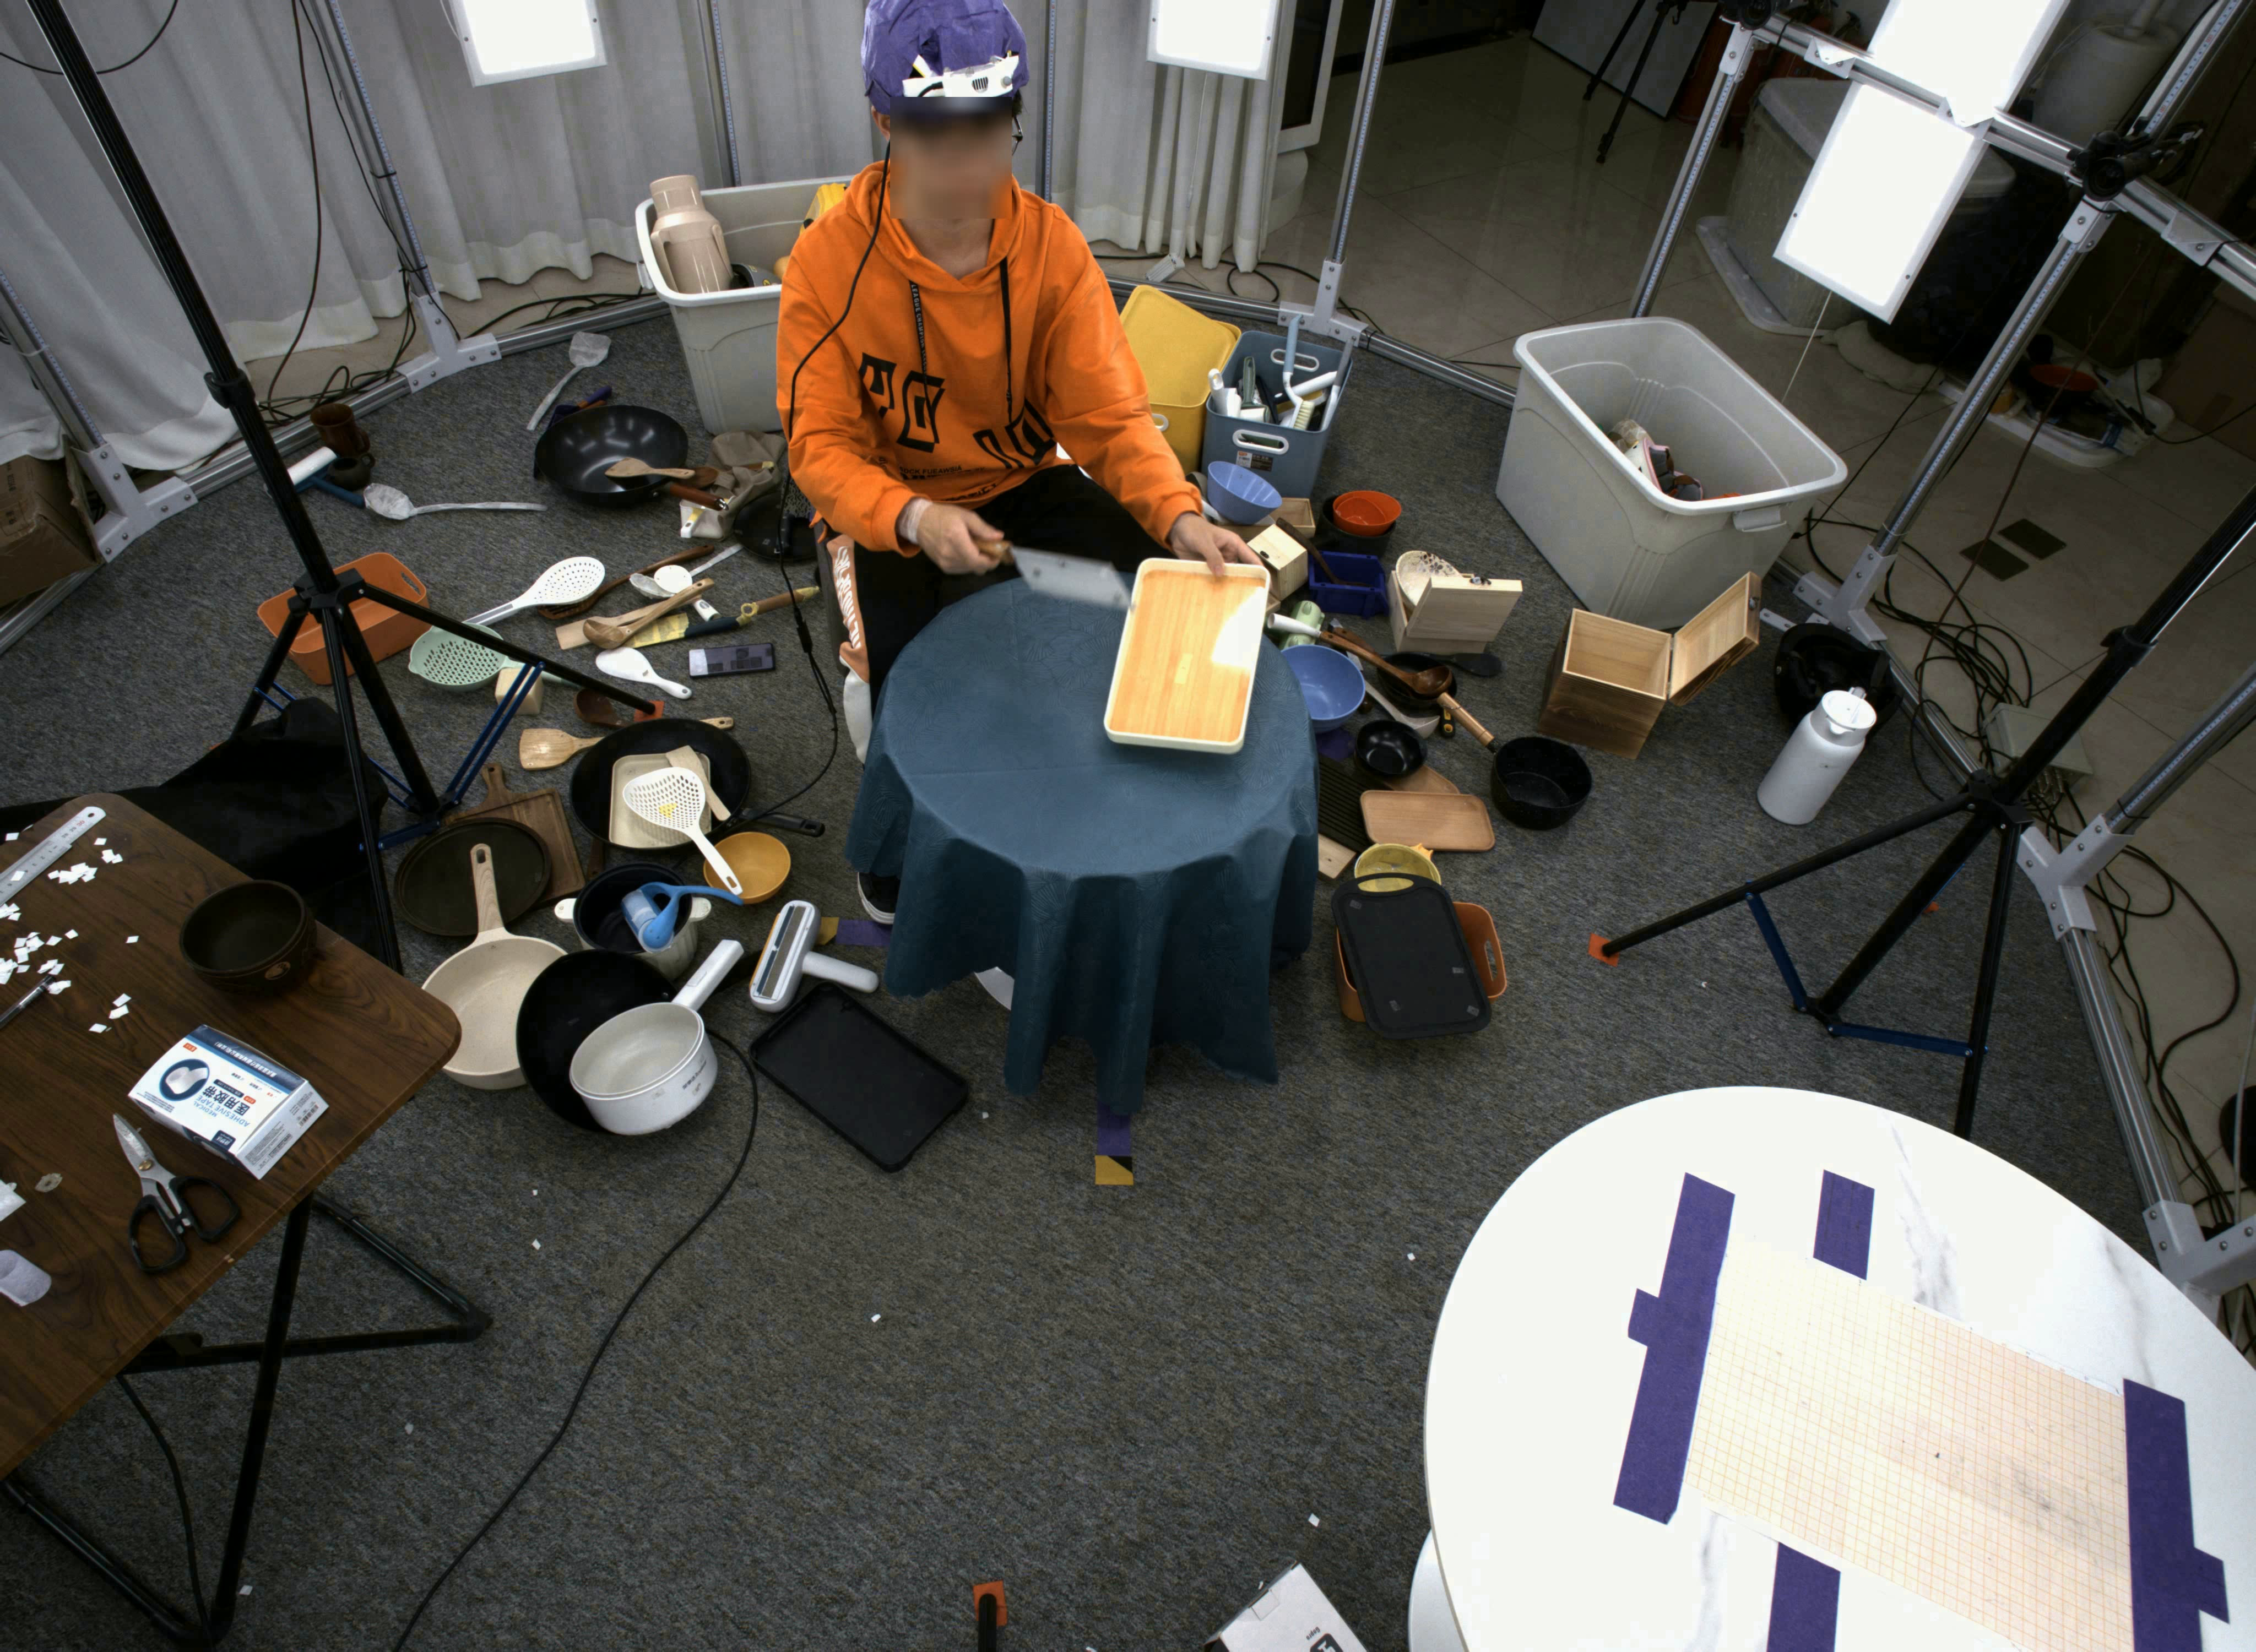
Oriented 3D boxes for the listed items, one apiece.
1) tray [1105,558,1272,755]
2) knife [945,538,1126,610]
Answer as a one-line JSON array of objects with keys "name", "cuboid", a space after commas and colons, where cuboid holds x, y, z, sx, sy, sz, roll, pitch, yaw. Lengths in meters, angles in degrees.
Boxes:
[{"name": "tray", "cuboid": [0.087, -0.240, 1.781, 0.192, 0.027, 0.306, 6, 62, 12]}, {"name": "knife", "cuboid": [-0.123, -0.334, 1.719, 0.309, 0.091, 0.021, 20, 67, 39]}]
